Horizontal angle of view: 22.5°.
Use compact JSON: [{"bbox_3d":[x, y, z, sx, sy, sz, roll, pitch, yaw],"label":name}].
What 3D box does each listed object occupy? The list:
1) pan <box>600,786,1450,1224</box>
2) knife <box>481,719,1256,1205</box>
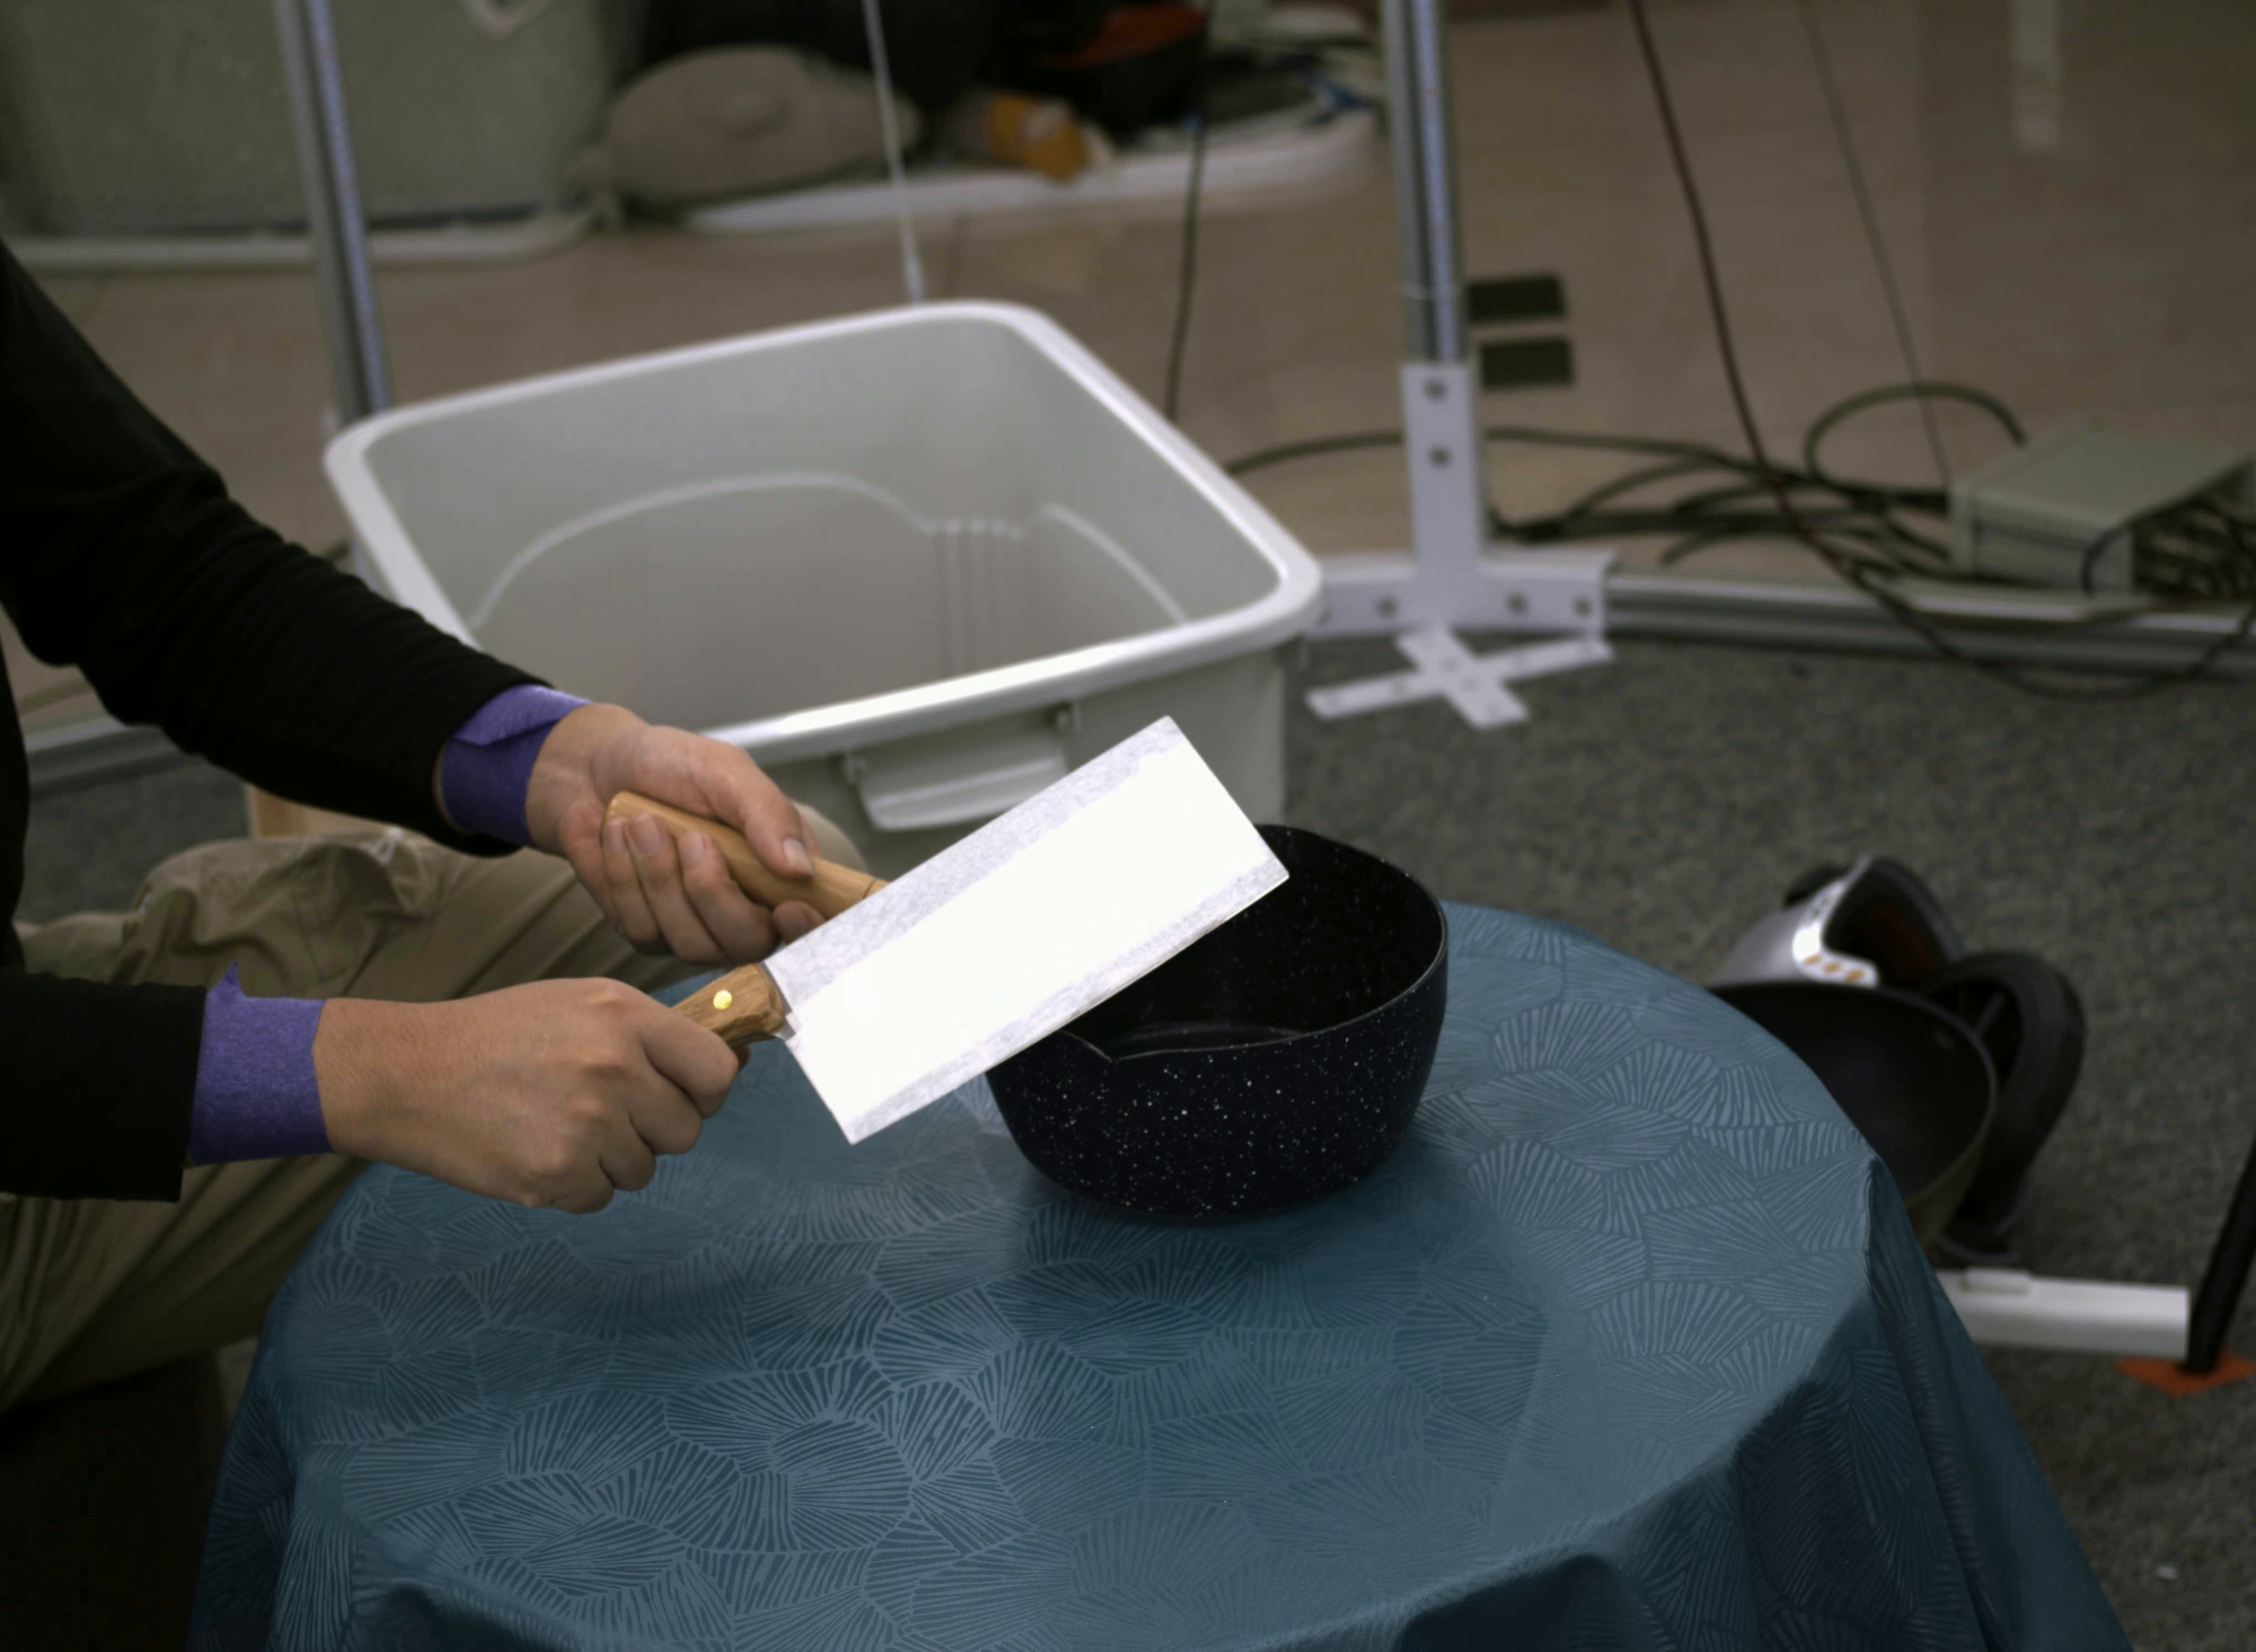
[{"bbox_3d":[-0.045,0.058,2.179,0.341,0.110,0.204,8,28,17],"label":"pan"},{"bbox_3d":[-0.091,0.065,2.087,0.305,0.021,0.091,-32,59,-7],"label":"knife"}]
